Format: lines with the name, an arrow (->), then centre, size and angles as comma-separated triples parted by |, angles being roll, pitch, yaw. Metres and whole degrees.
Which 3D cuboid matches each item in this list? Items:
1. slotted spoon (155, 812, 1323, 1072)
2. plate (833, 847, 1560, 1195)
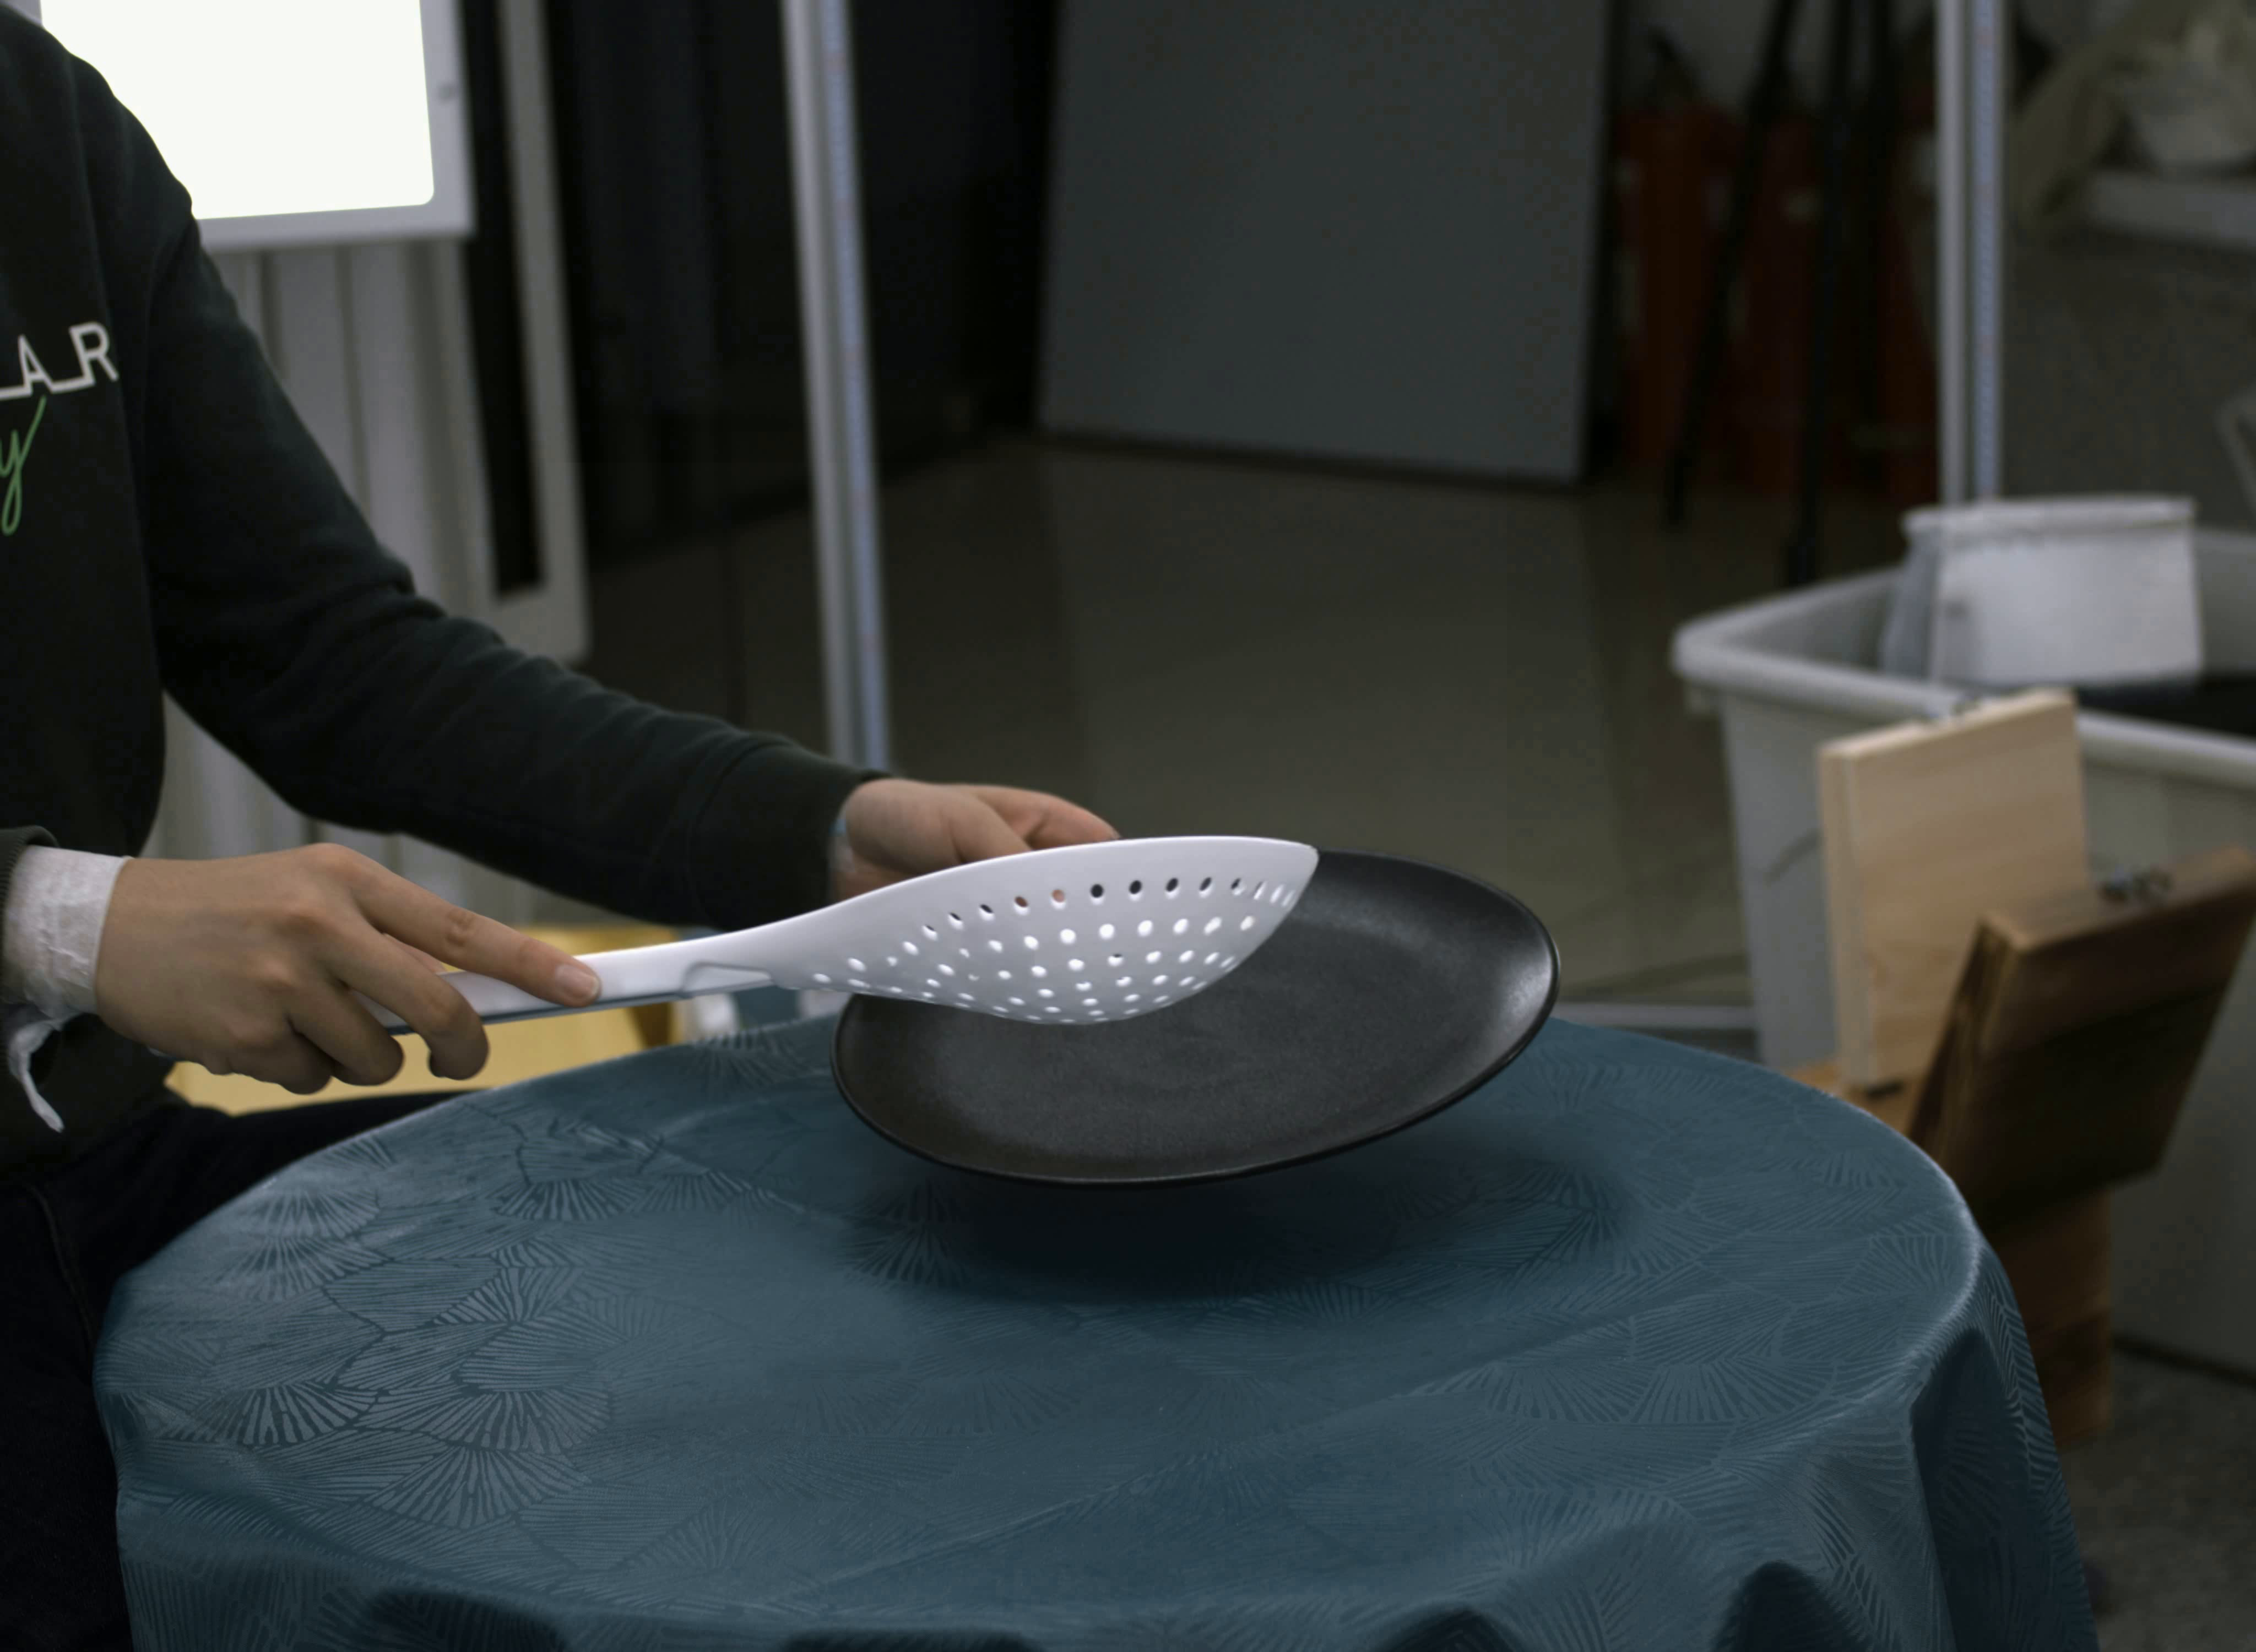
slotted spoon -> -0.114, 0.037, 1.568 | 0.347, 0.046, 0.135 | -4, -12, 10
plate -> 0.023, 0.068, 1.768 | 0.241, 0.023, 0.245 | -8, 24, 3
